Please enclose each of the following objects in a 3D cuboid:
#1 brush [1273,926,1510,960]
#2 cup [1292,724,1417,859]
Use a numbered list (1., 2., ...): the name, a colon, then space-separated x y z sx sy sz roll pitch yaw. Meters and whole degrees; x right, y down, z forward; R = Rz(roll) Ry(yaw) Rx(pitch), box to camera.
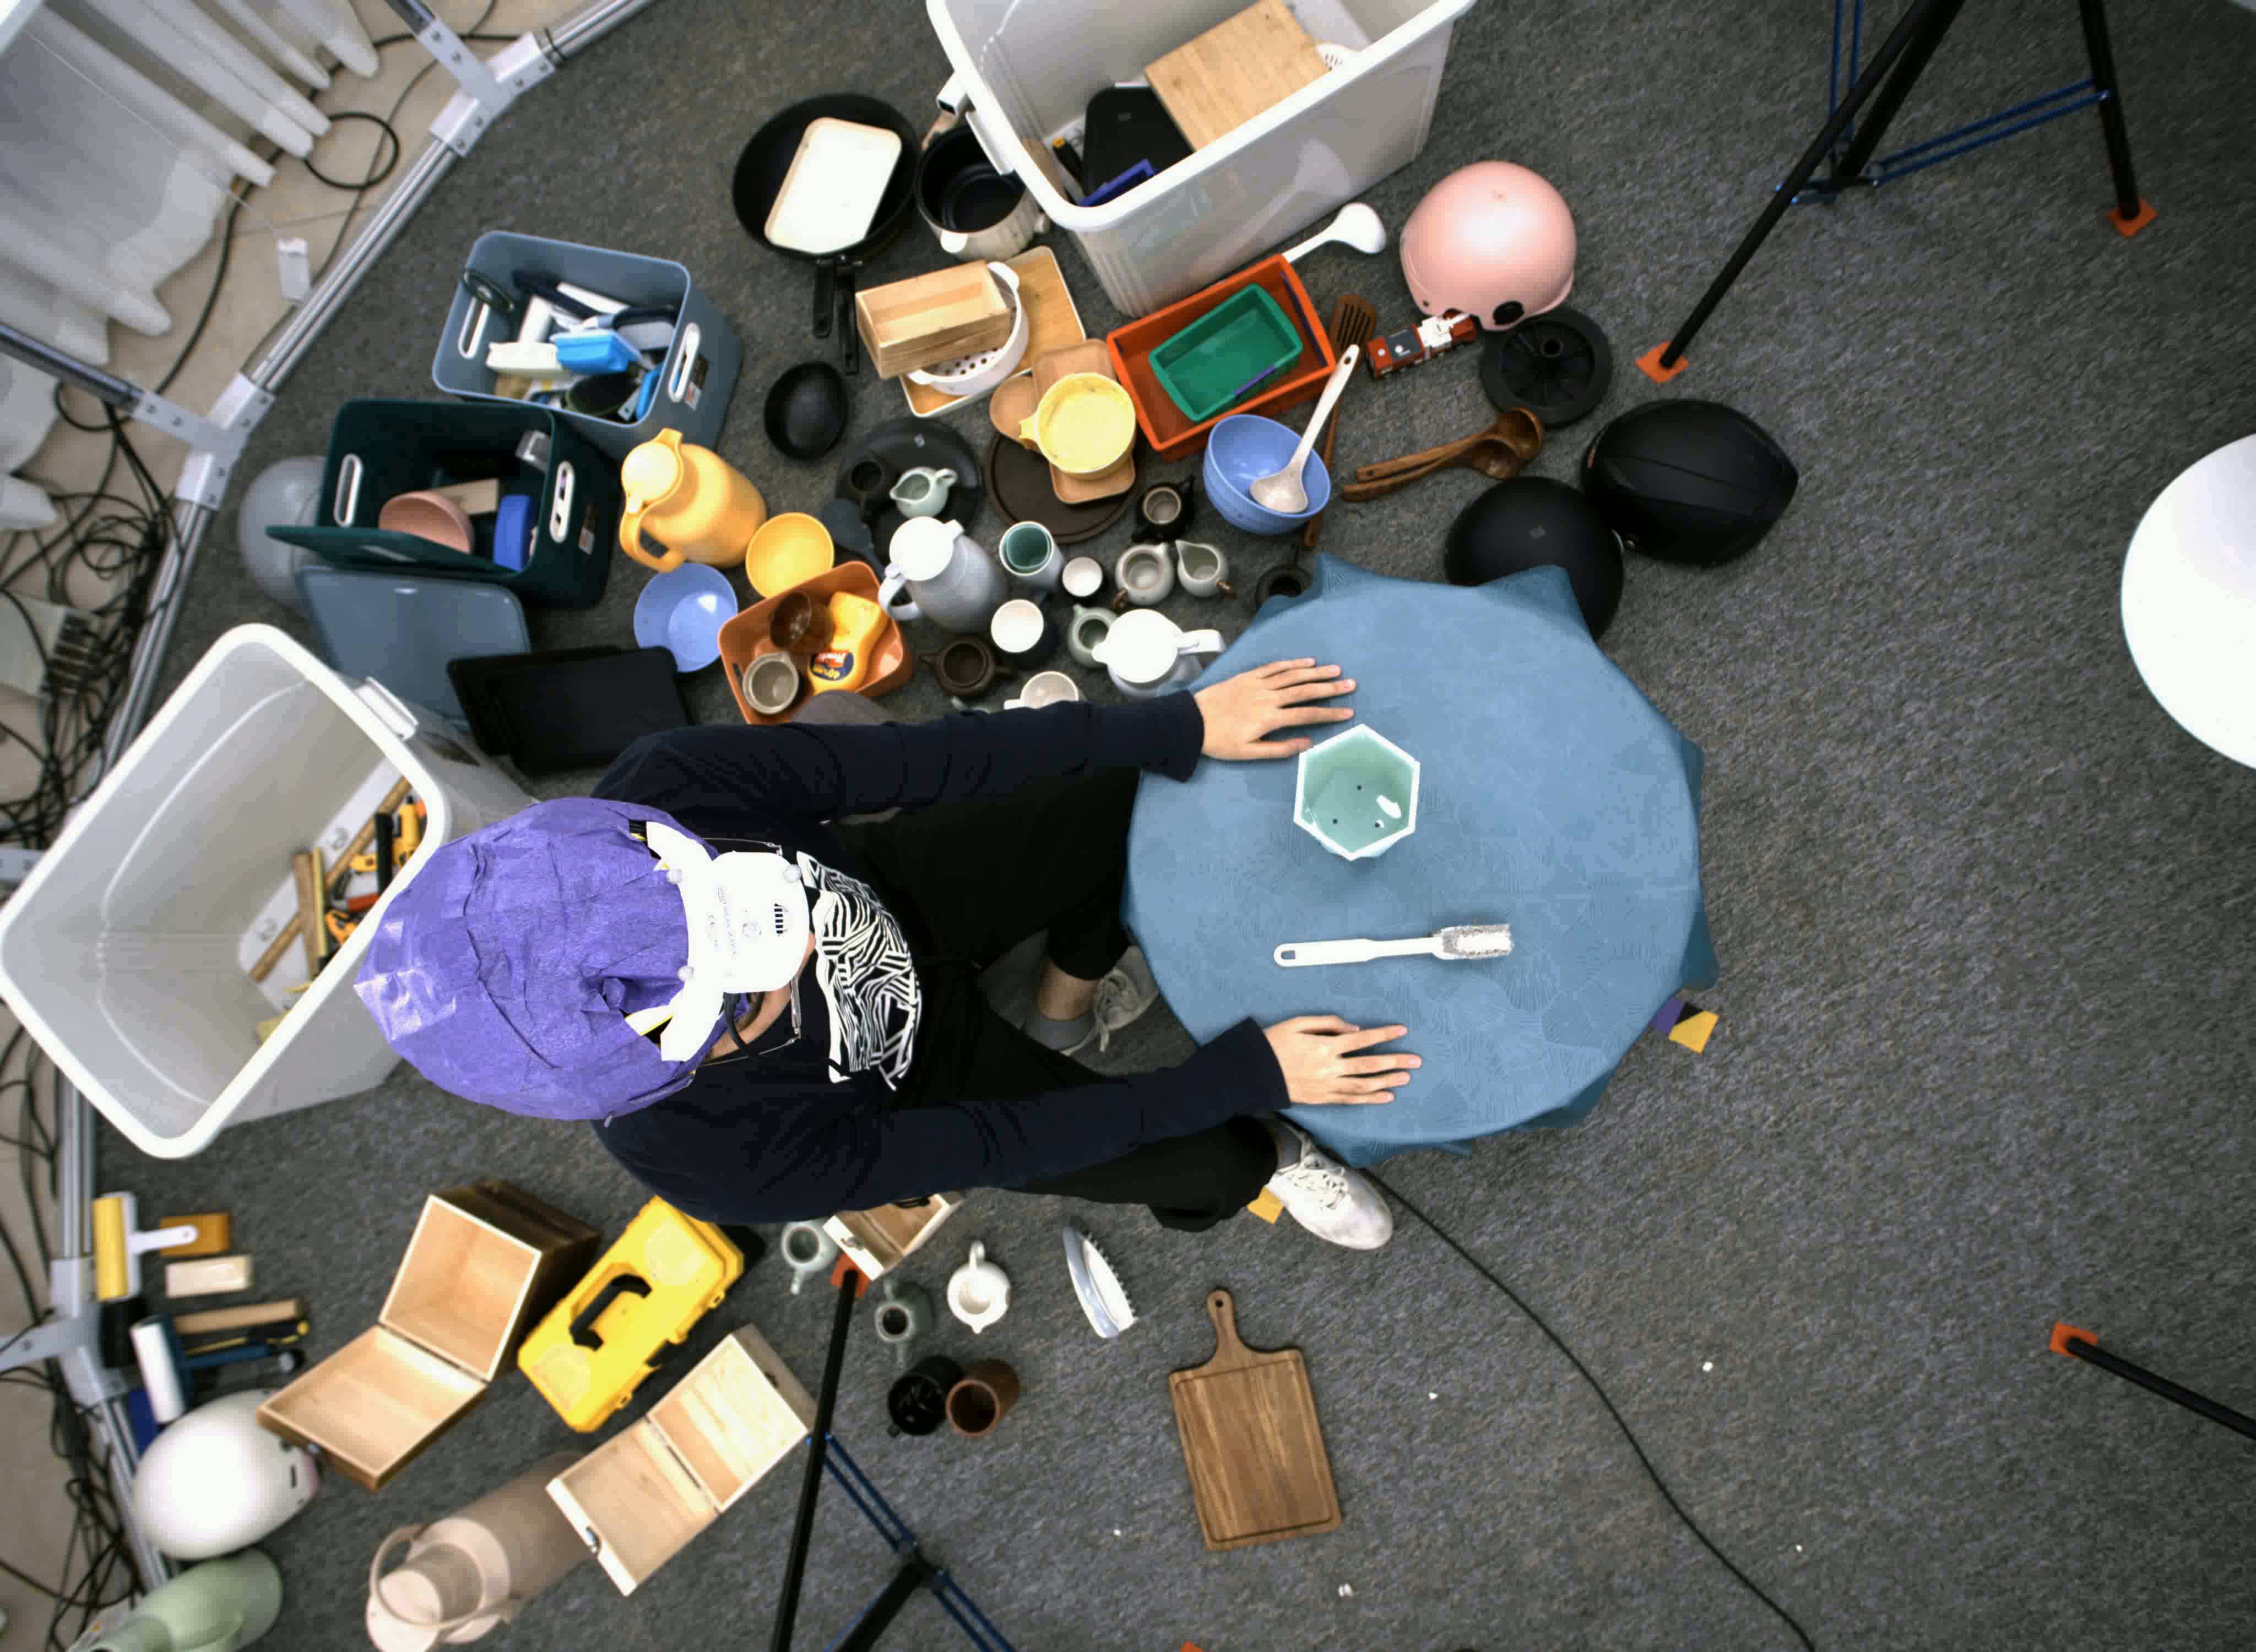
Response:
1. brush: 0.271 0.121 1.432 0.244 0.050 0.034 -2 89 11
2. cup: 0.230 -0.027 1.388 0.130 0.163 0.115 34 93 11
